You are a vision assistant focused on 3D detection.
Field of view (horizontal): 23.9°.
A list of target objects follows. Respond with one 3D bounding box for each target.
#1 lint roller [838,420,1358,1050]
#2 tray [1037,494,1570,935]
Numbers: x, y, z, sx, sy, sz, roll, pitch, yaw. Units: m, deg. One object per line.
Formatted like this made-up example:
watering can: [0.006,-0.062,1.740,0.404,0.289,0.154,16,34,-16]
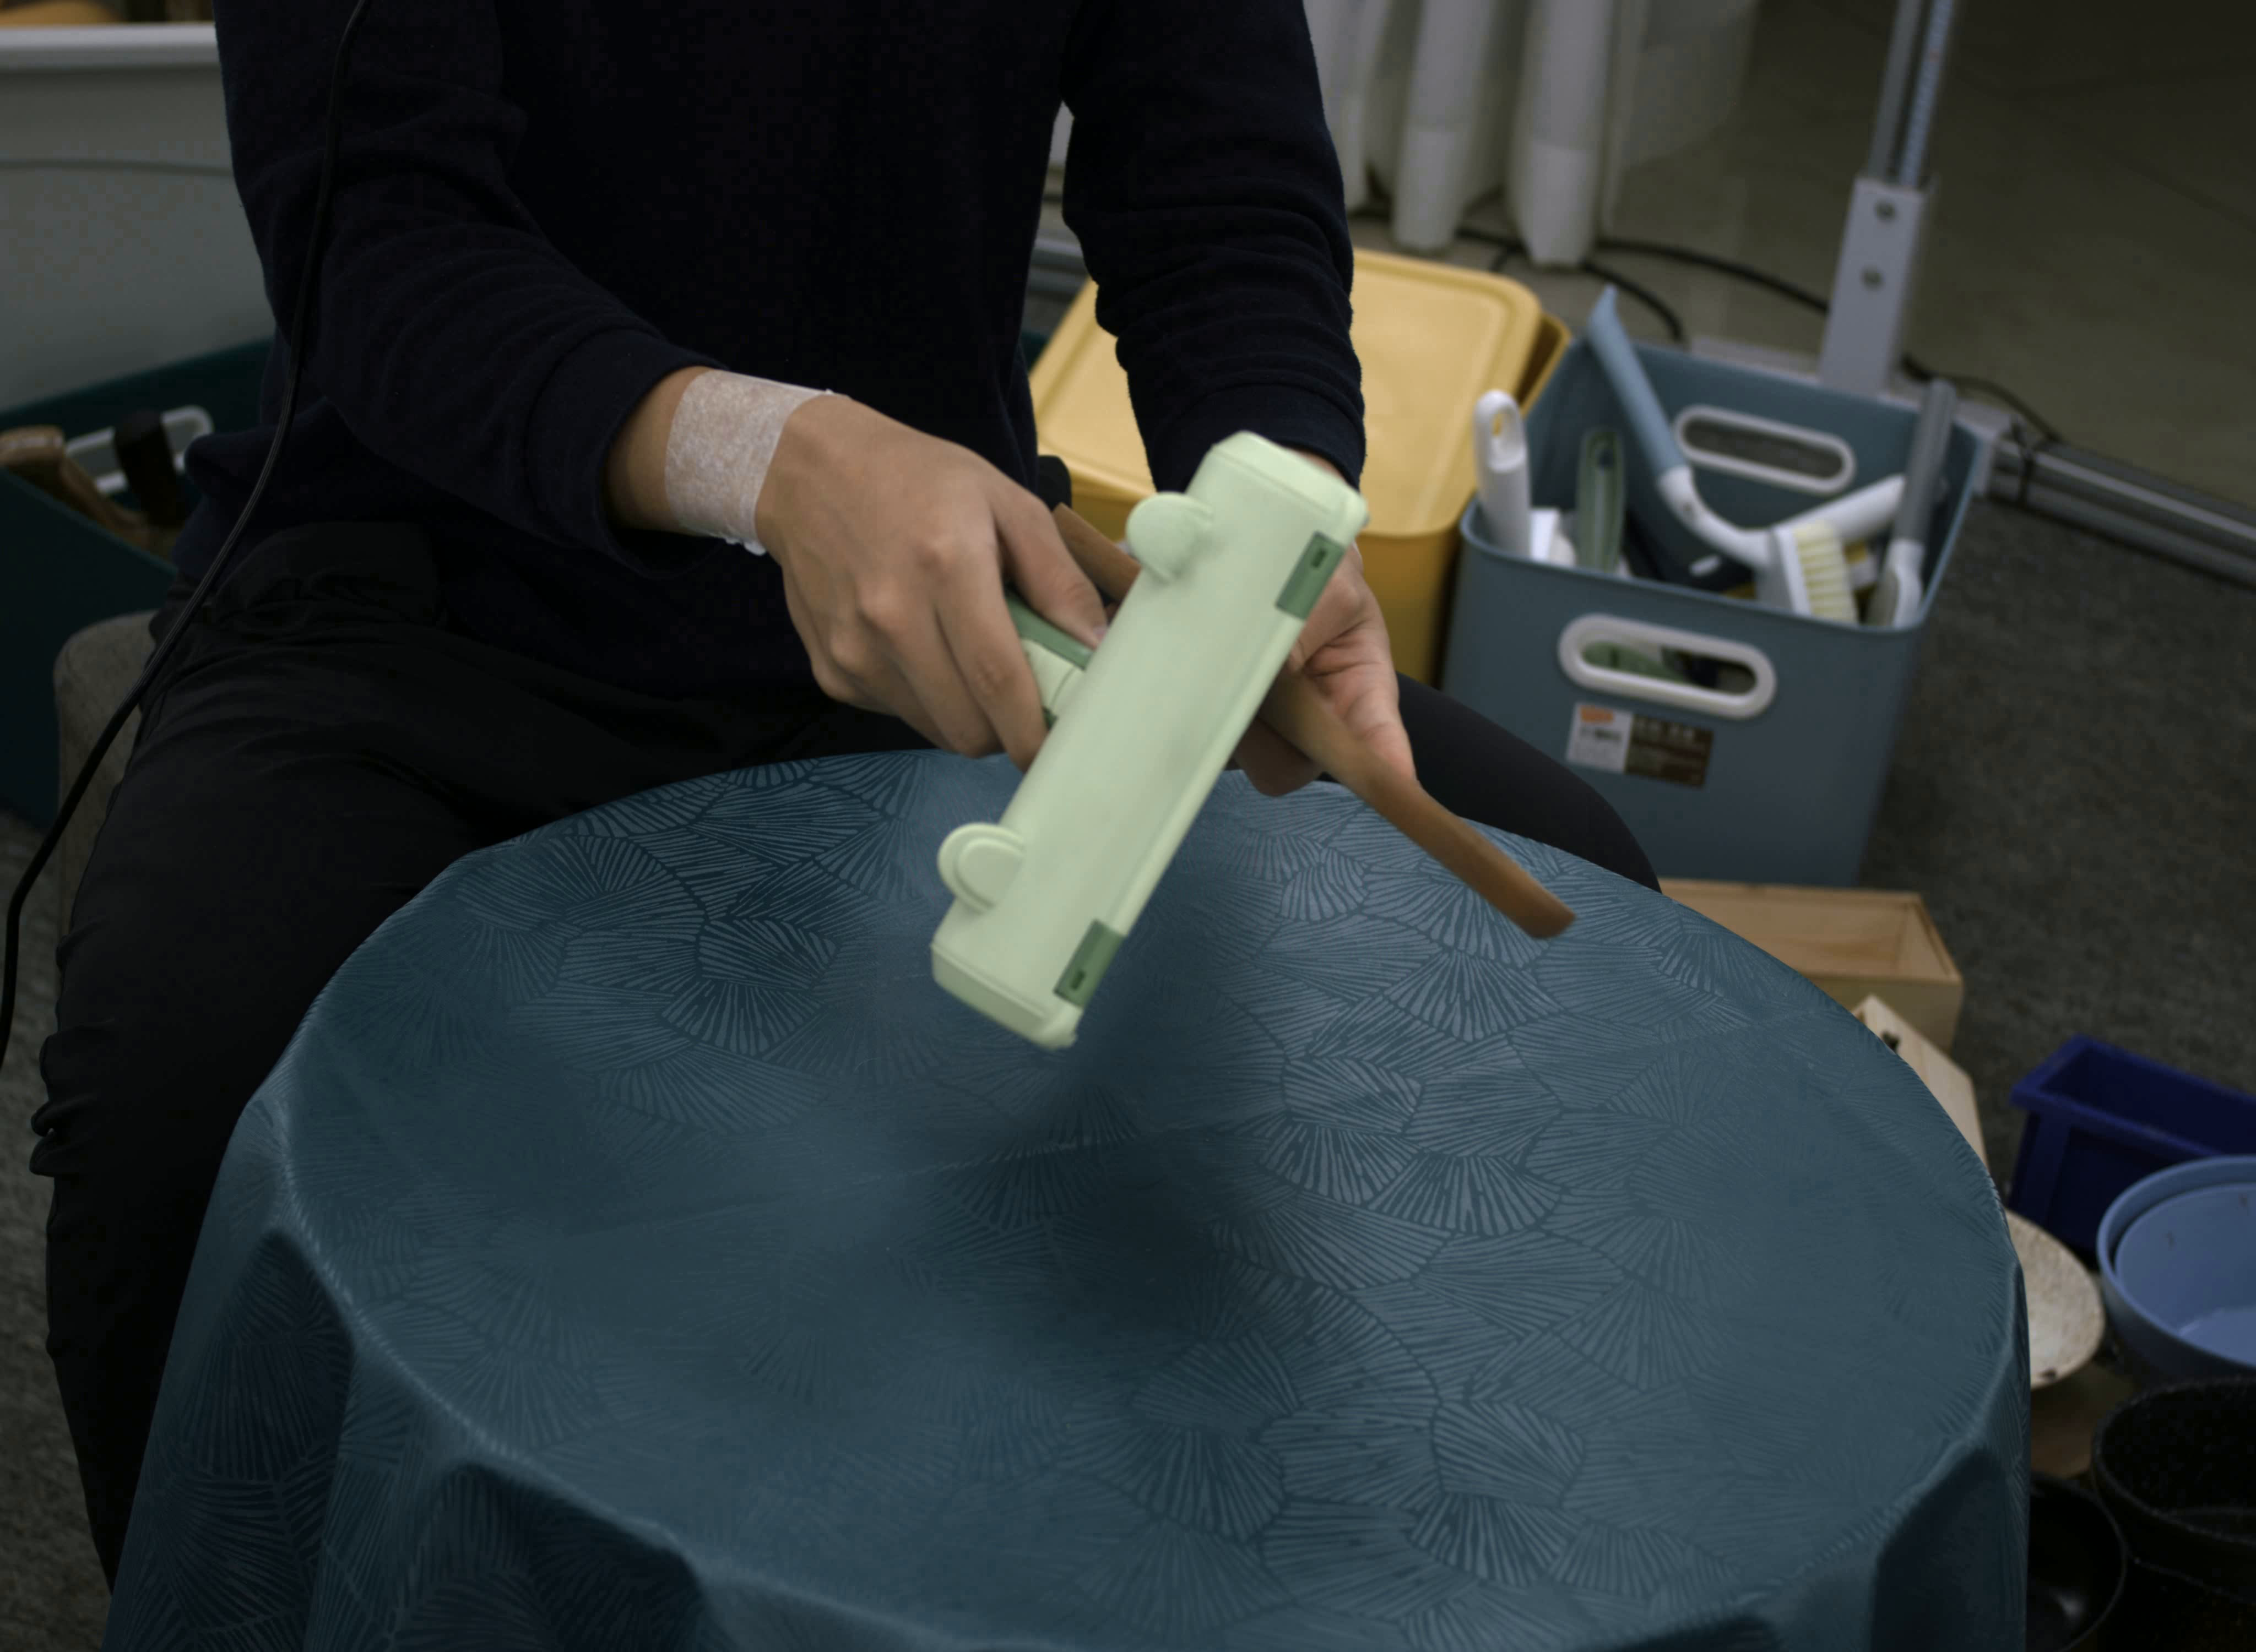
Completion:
lint roller: [-0.040,-0.053,1.656,0.184,0.199,0.081,30,1,34]
tray: [0.052,-0.038,1.745,0.129,0.023,0.253,41,0,-30]
